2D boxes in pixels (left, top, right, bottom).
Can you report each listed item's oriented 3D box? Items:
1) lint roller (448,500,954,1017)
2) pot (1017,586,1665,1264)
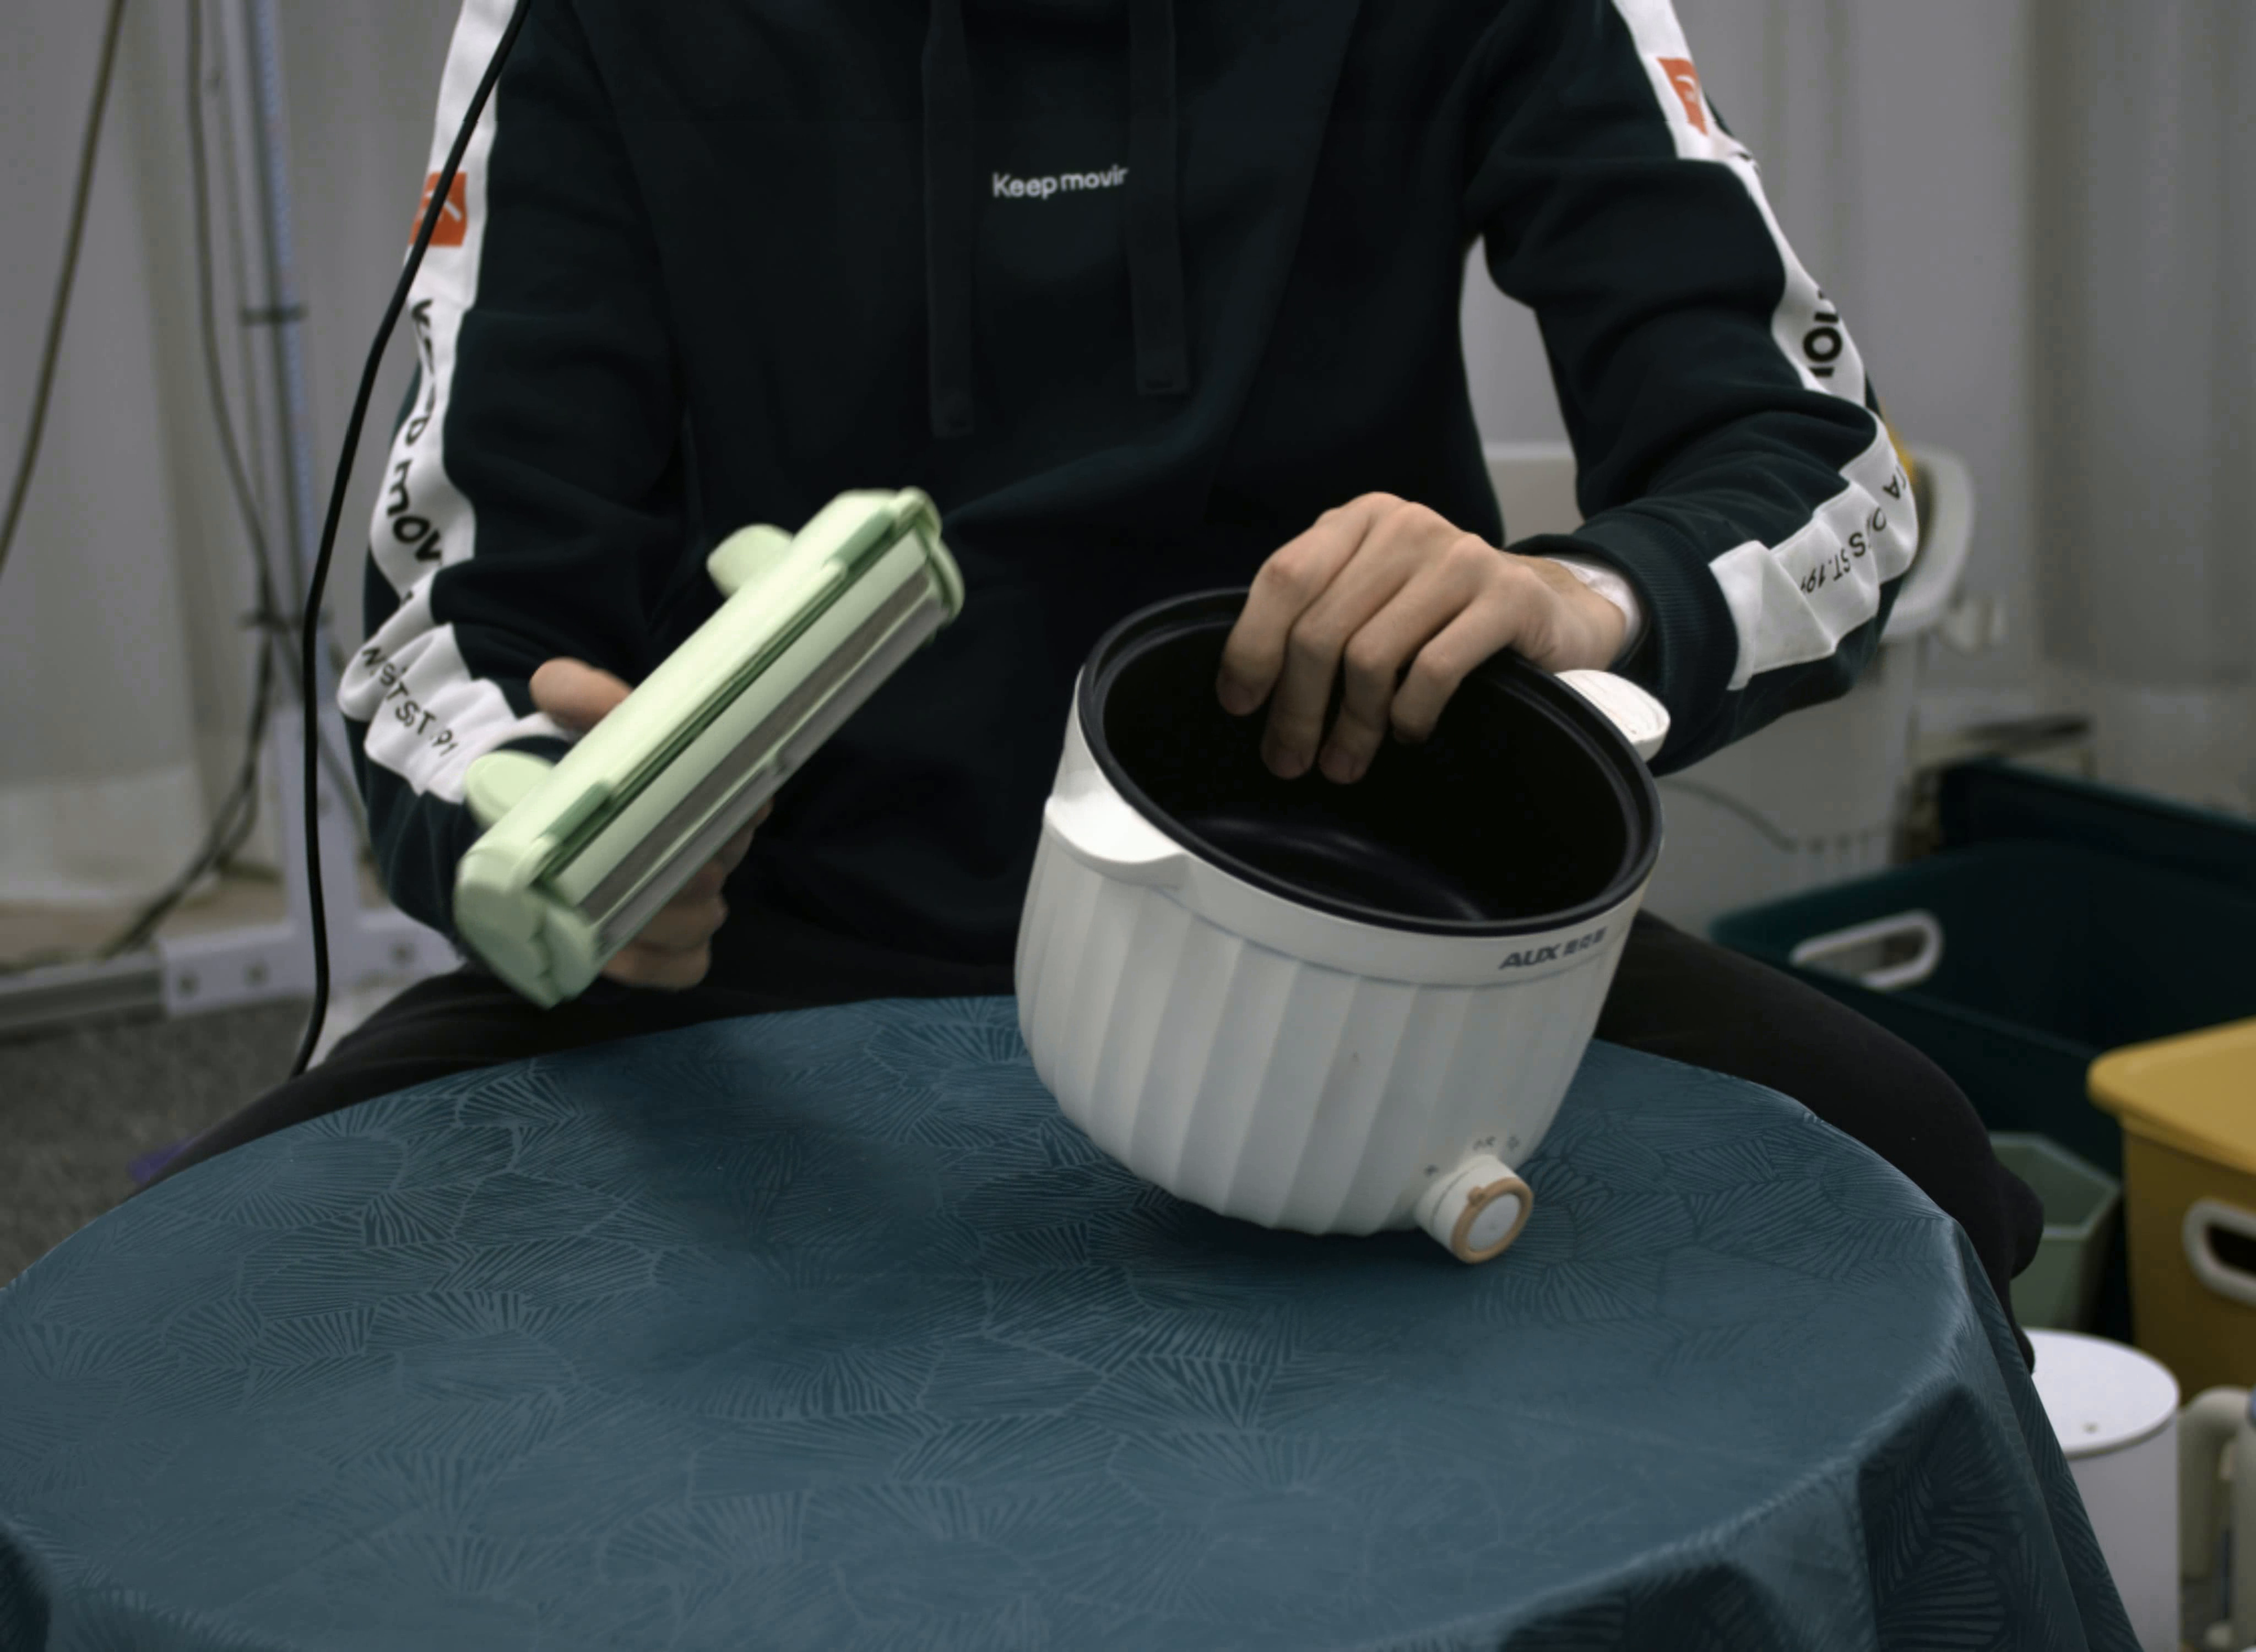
[{"bbox_3d":[-0.155,-0.011,1.729,0.200,0.082,0.182,-46,2,-30],"label":"lint roller"},{"bbox_3d":[0.062,0.035,1.663,0.240,0.141,0.192,-14,39,-38],"label":"pot"}]
